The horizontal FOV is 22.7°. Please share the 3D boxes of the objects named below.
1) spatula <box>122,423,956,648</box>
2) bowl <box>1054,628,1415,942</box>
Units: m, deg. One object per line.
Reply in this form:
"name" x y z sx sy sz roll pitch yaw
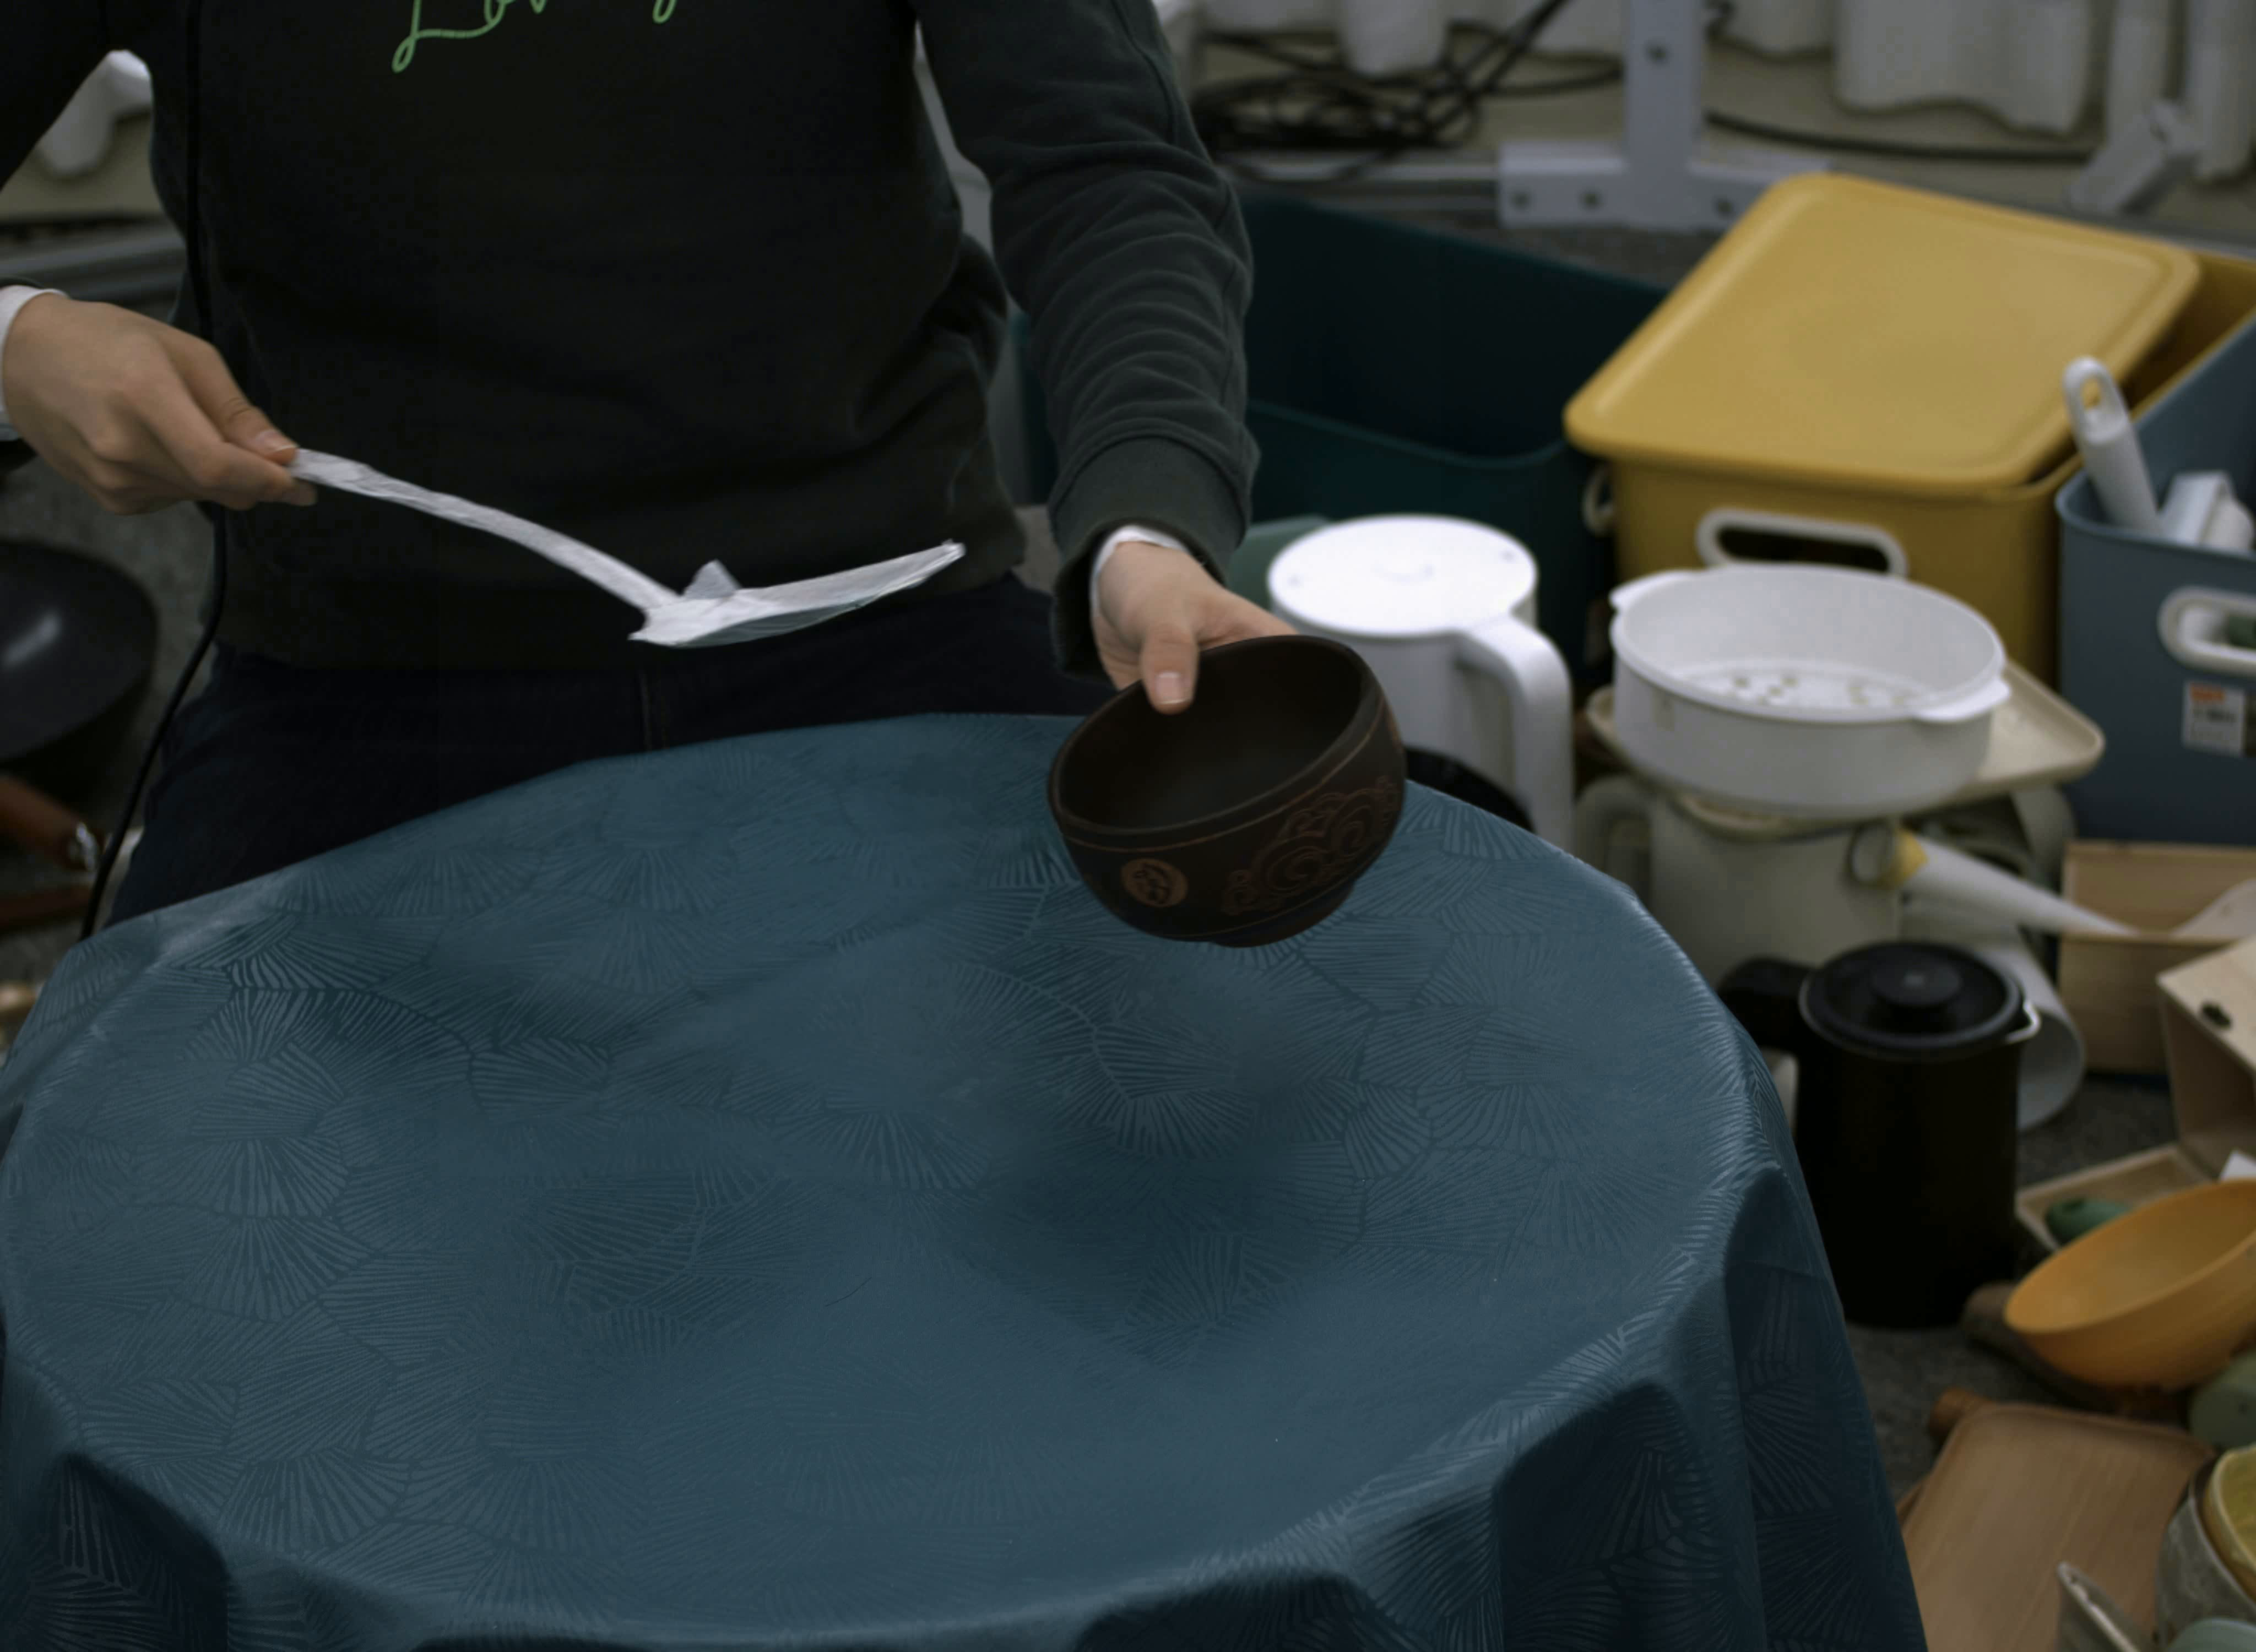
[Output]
"spatula" -0.220 -0.108 1.923 0.363 0.044 0.100 18 27 32
"bowl" 0.040 -0.006 1.861 0.117 0.069 0.120 -17 27 9
